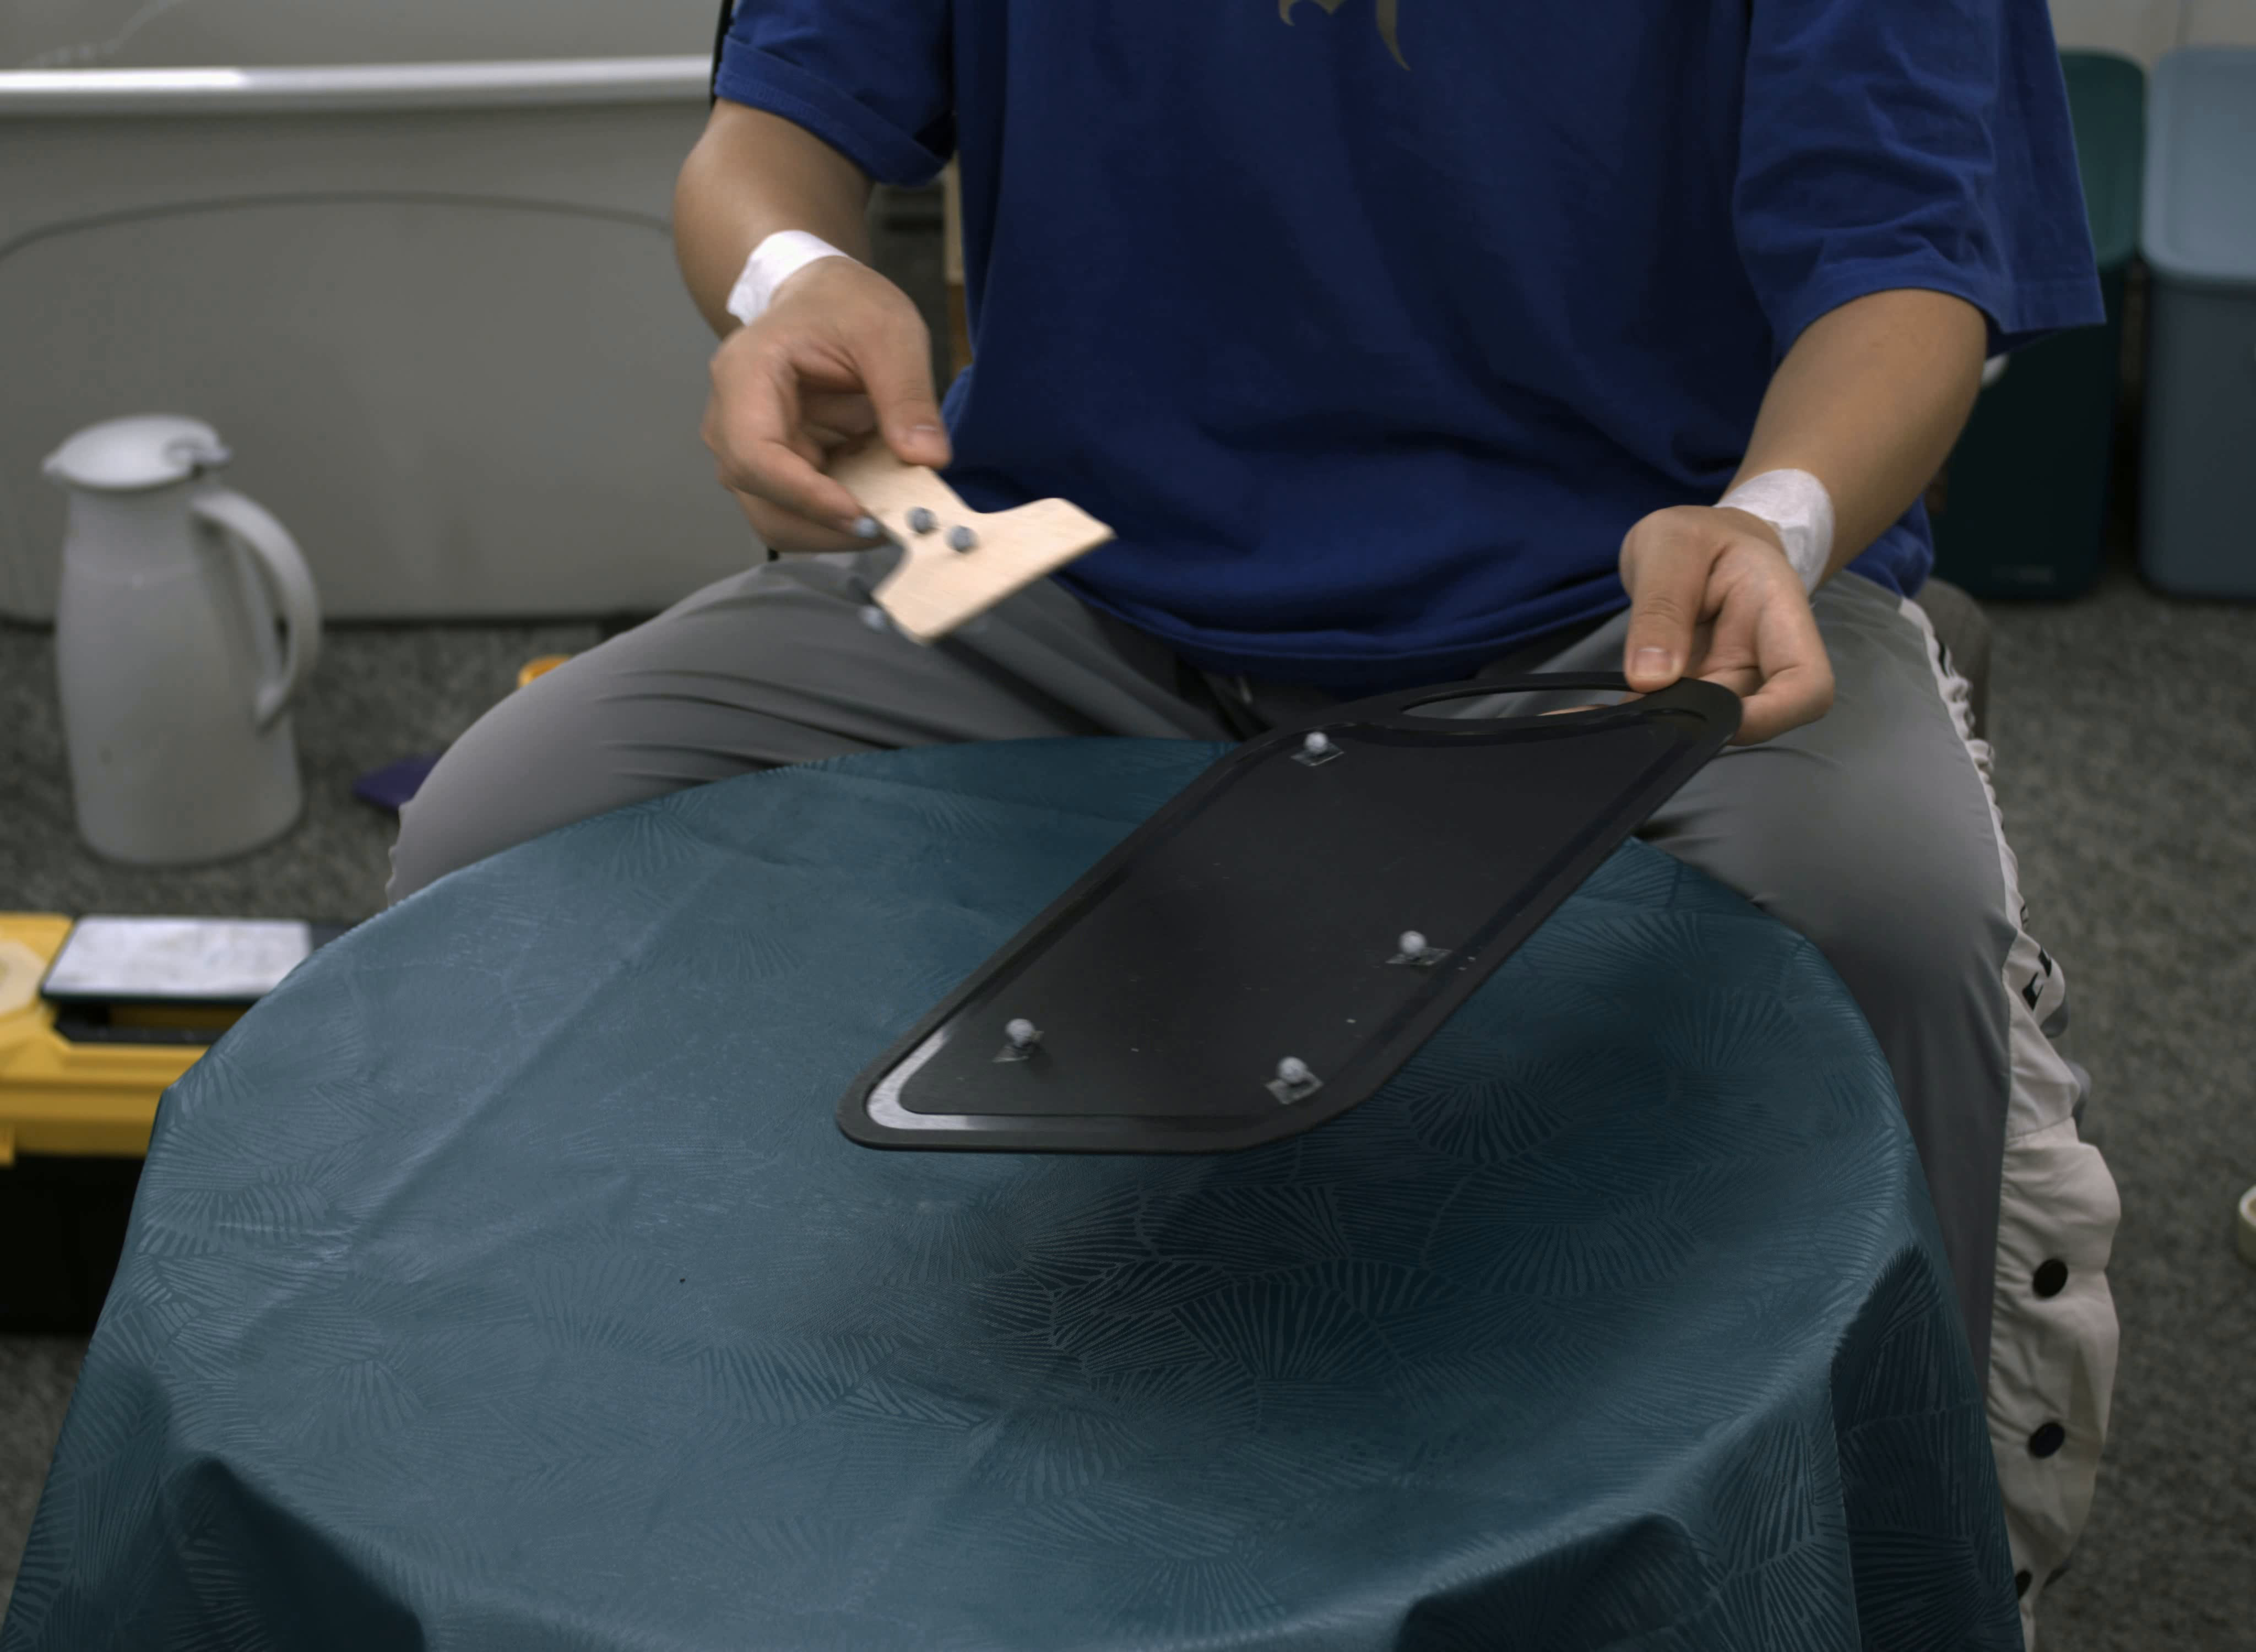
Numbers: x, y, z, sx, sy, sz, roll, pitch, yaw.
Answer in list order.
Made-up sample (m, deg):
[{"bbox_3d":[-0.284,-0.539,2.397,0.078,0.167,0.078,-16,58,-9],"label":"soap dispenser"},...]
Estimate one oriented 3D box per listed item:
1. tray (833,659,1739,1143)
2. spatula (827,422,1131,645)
[{"bbox_3d":[0.057,0.019,1.819,0.209,0.010,0.331,-2,26,39],"label":"tray"},{"bbox_3d":[-0.063,-0.104,1.895,0.072,0.010,0.294,-30,18,-6],"label":"spatula"}]
